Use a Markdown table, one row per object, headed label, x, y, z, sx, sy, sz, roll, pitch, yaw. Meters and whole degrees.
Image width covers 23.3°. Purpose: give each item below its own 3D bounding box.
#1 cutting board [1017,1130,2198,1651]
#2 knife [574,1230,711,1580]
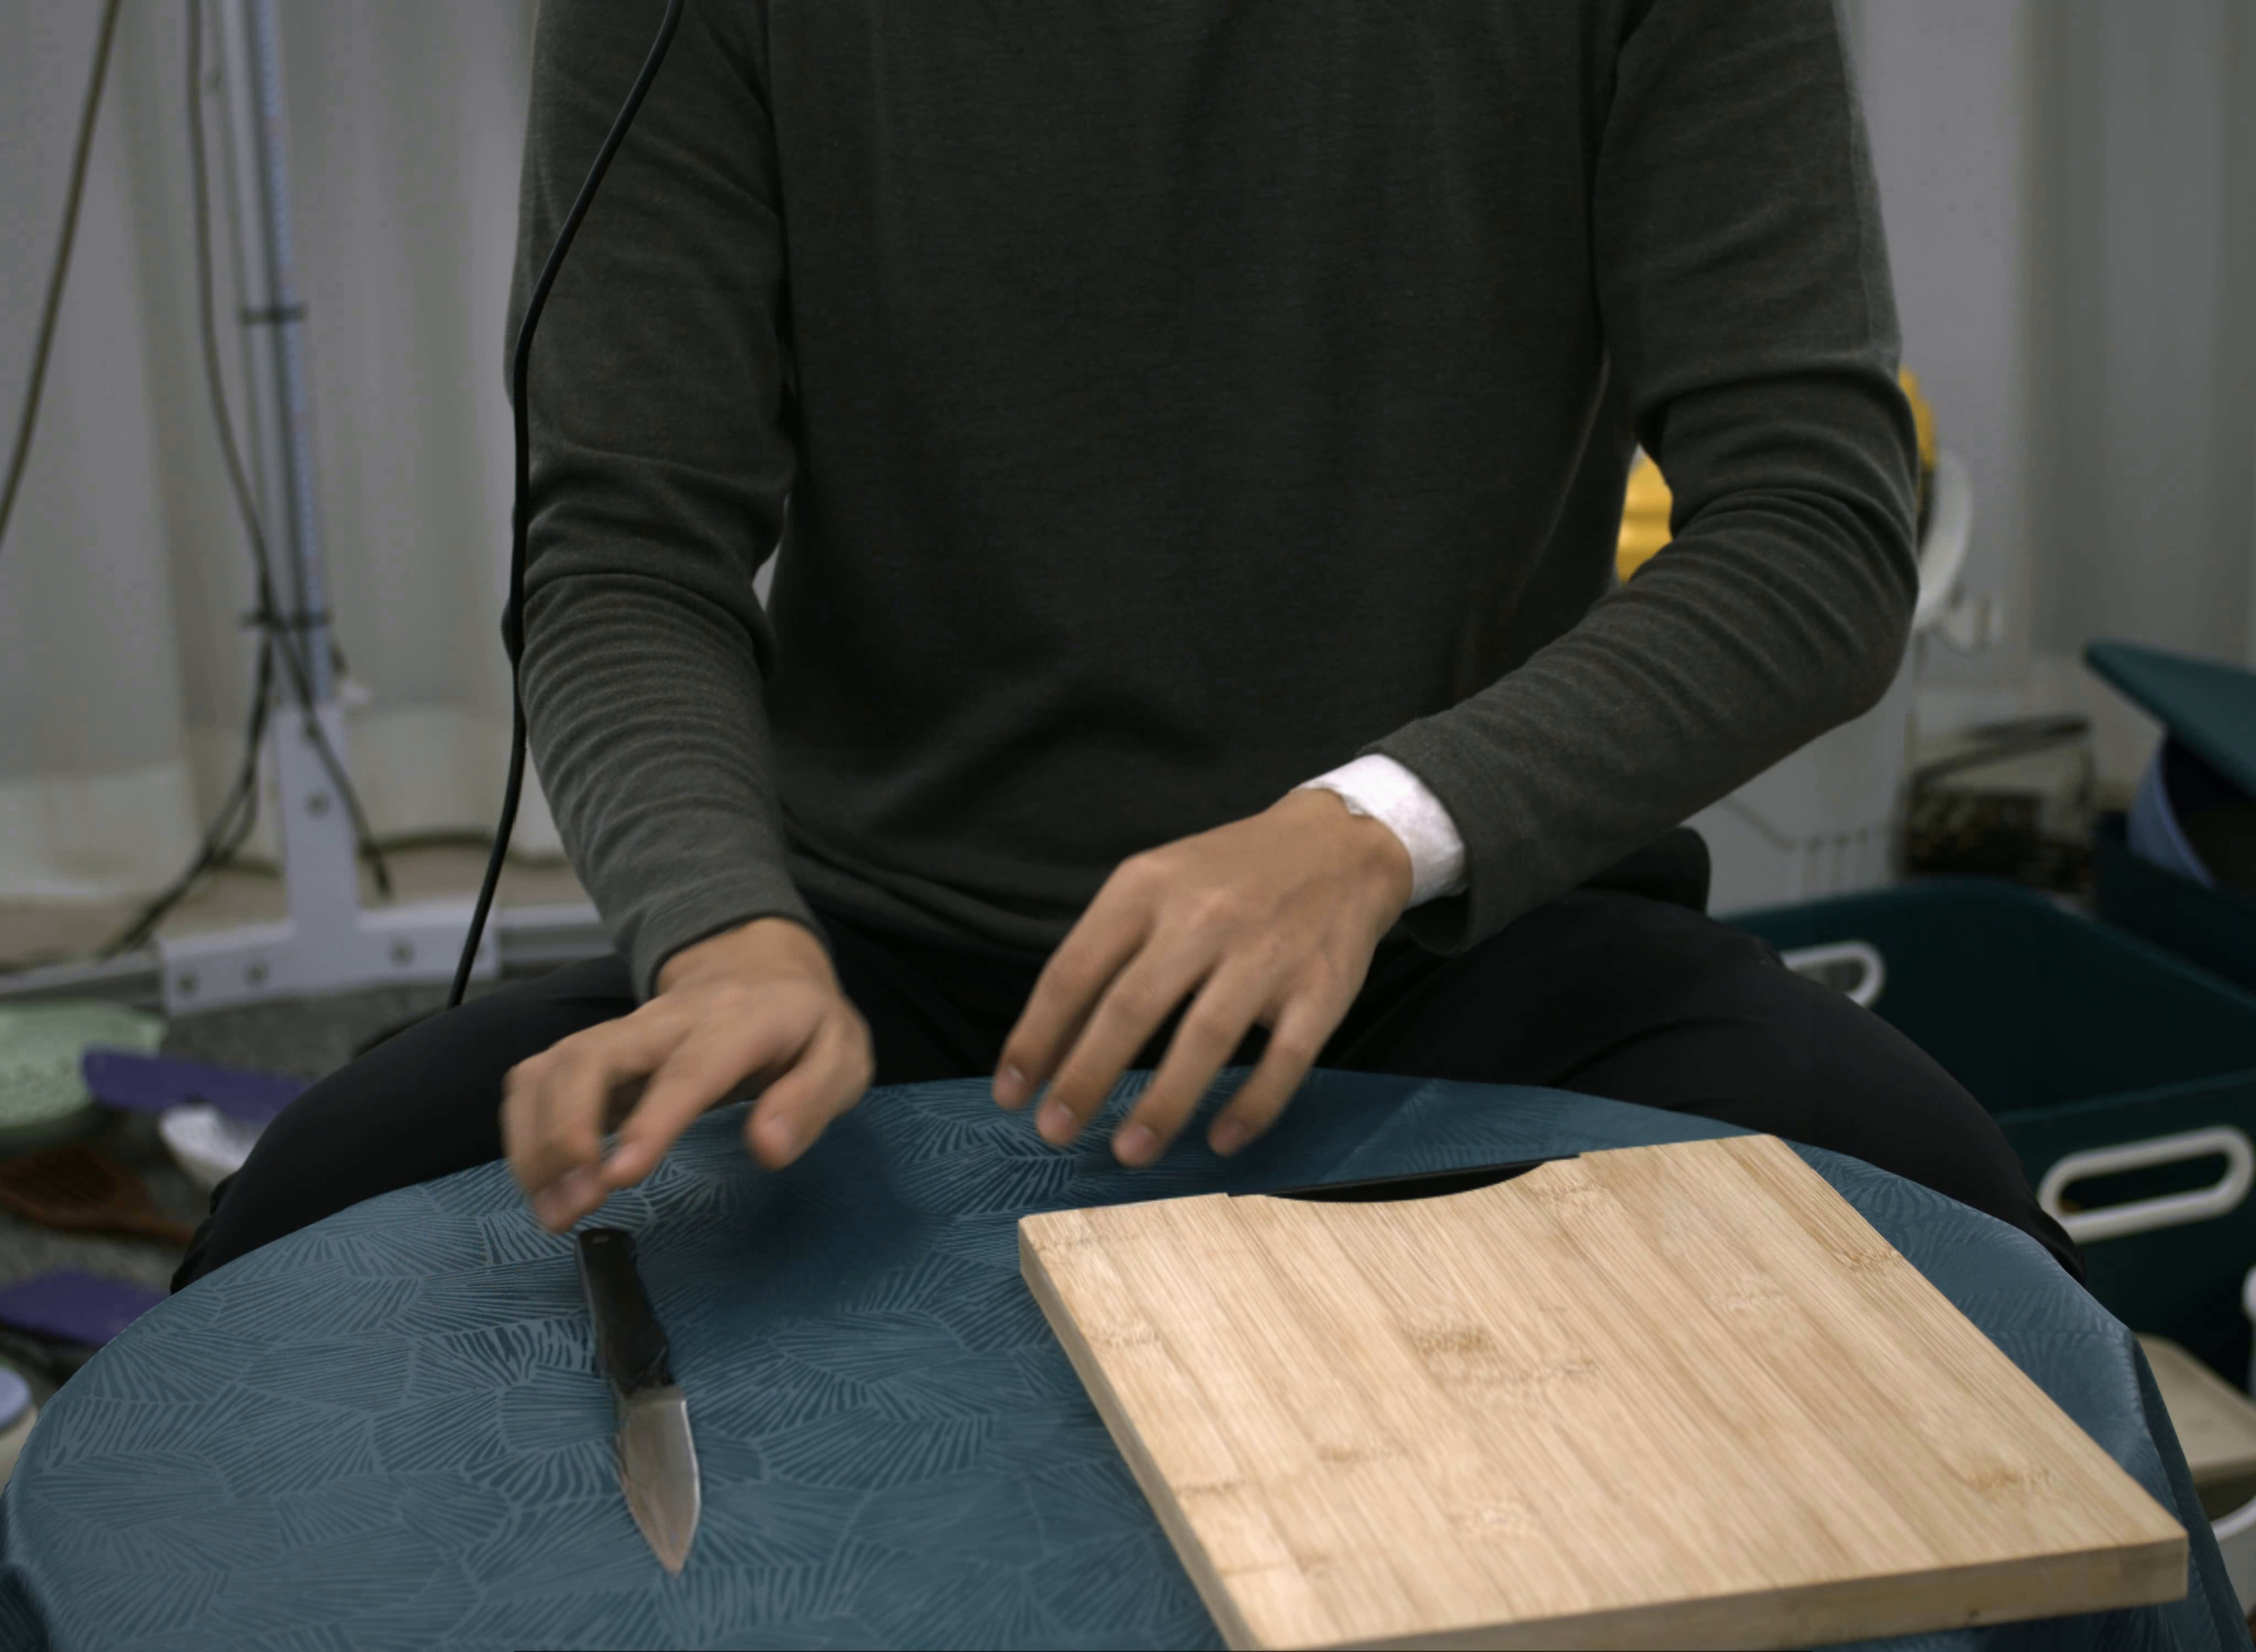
| label | x | y | z | sx | sy | sz | roll | pitch | yaw |
| --- | --- | --- | --- | --- | --- | --- | --- | --- | --- |
| cutting board | 0.117 | 0.155 | 1.511 | 0.249 | 0.023 | 0.351 | -5 | 15 | -11 |
| knife | -0.138 | 0.163 | 1.539 | 0.024 | 0.016 | 0.240 | -9 | 18 | -8 |
